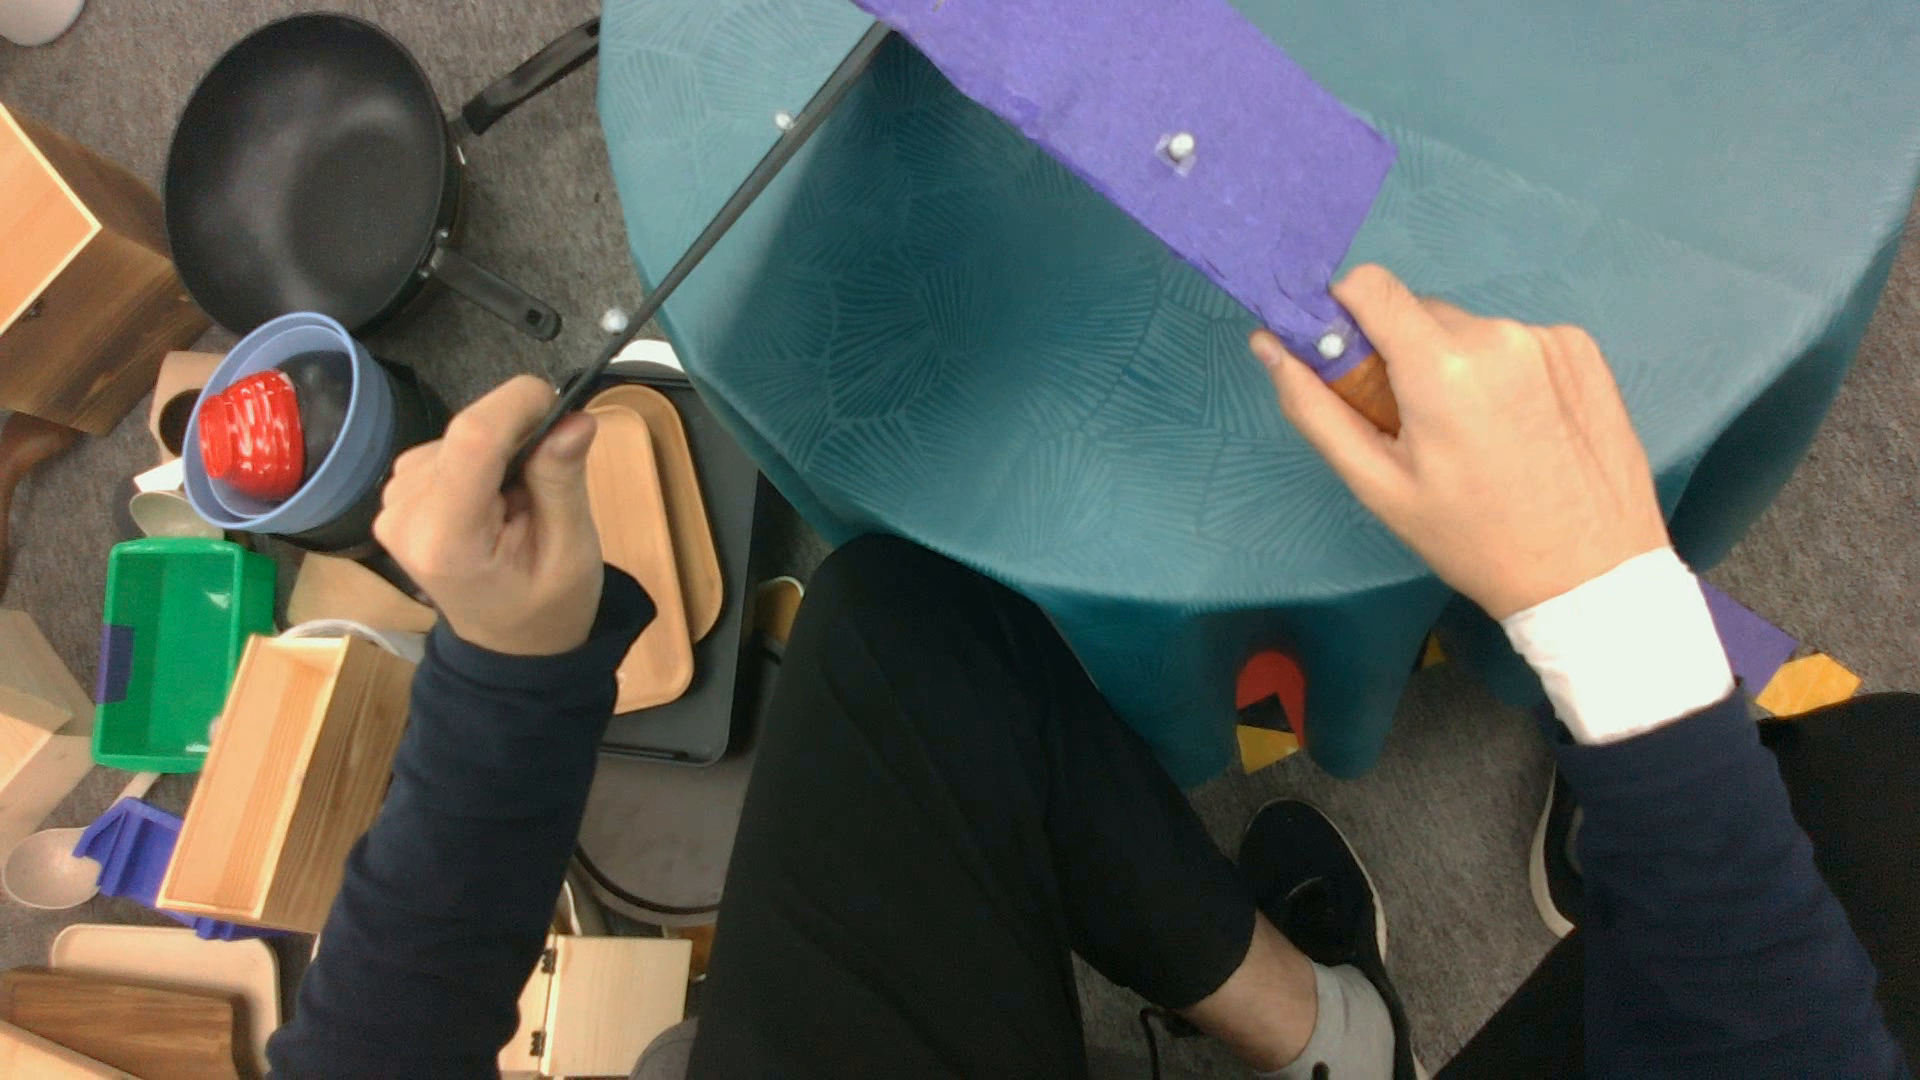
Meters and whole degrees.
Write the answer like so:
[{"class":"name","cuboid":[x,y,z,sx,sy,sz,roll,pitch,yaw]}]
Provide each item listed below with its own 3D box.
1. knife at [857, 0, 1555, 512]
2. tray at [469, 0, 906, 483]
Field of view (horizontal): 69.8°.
[{"class":"knife","cuboid":[0.085,-0.131,0.450,0.315,0.032,0.104,35,70,-14]},{"class":"tray","cuboid":[-0.076,-0.149,0.518,0.010,0.210,0.326,42,74,-18]}]
